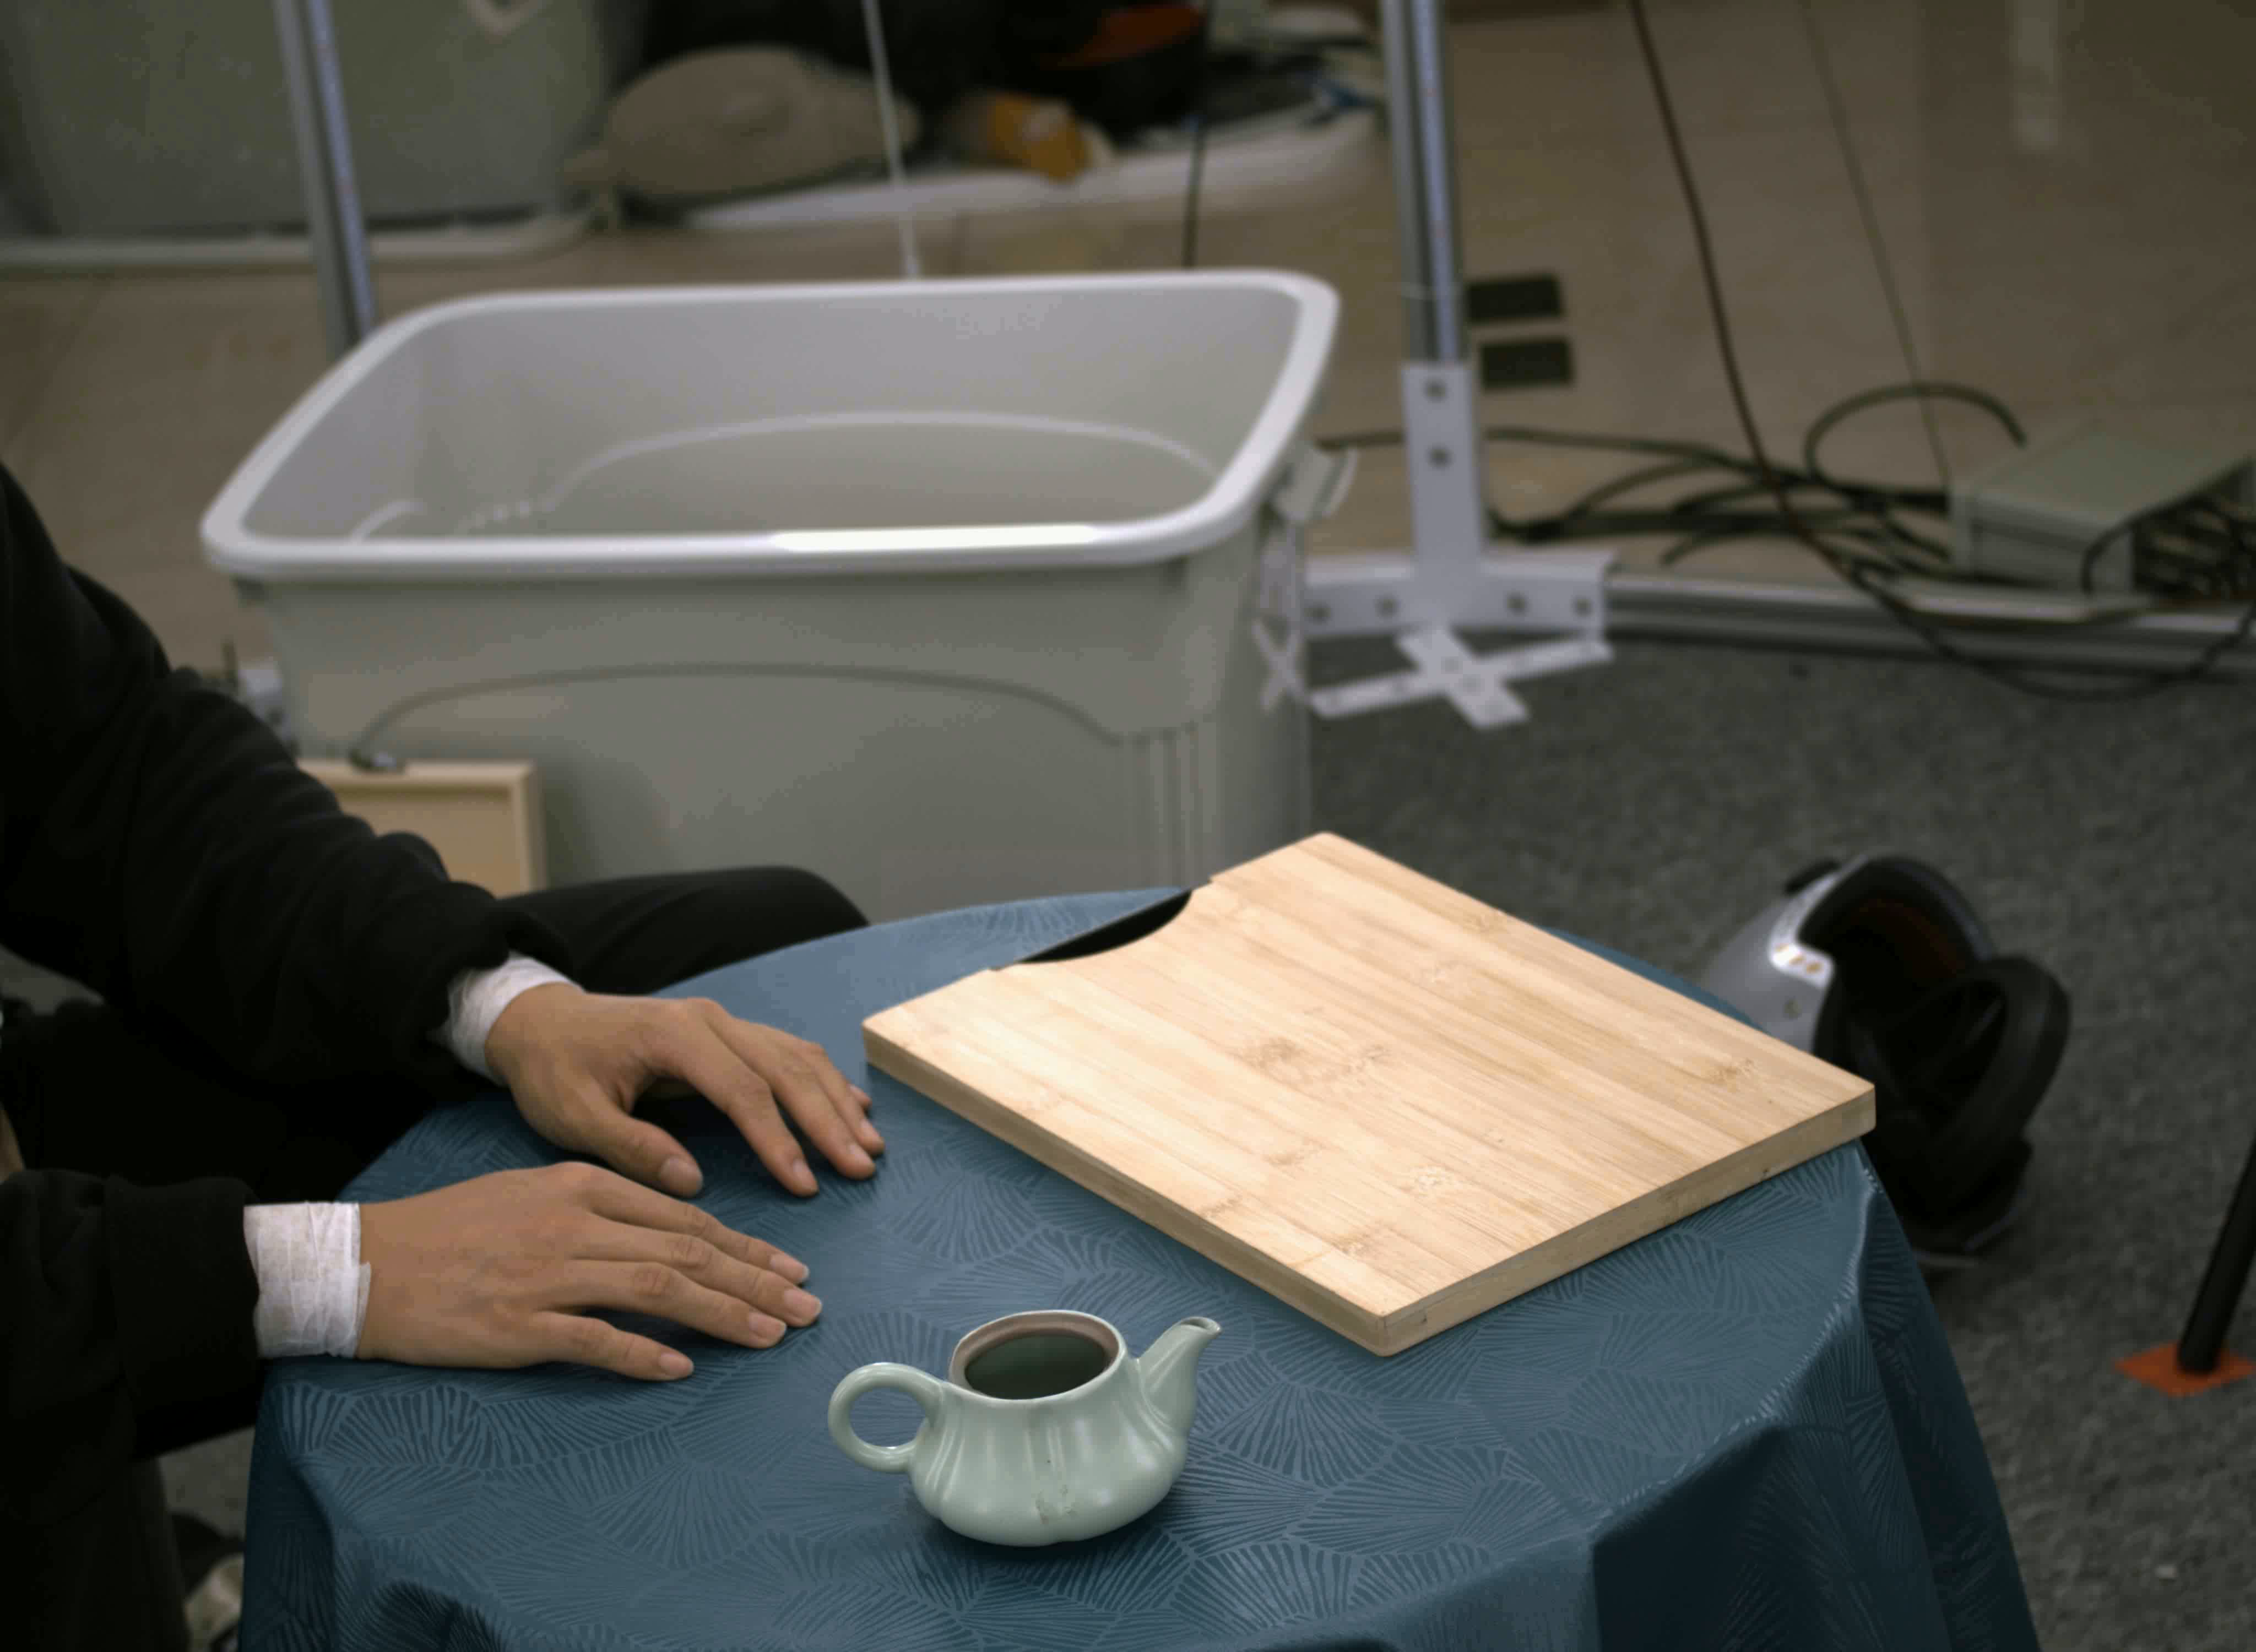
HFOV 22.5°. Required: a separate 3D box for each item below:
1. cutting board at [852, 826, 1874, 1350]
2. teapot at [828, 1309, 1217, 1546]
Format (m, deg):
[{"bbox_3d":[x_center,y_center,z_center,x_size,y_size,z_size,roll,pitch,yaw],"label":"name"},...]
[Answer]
[{"bbox_3d":[0.085,0.095,2.204,0.249,0.024,0.345,-22,29,-31],"label":"cutting board"},{"bbox_3d":[-0.034,0.205,1.945,0.136,0.062,0.095,-9,26,-6],"label":"teapot"}]
